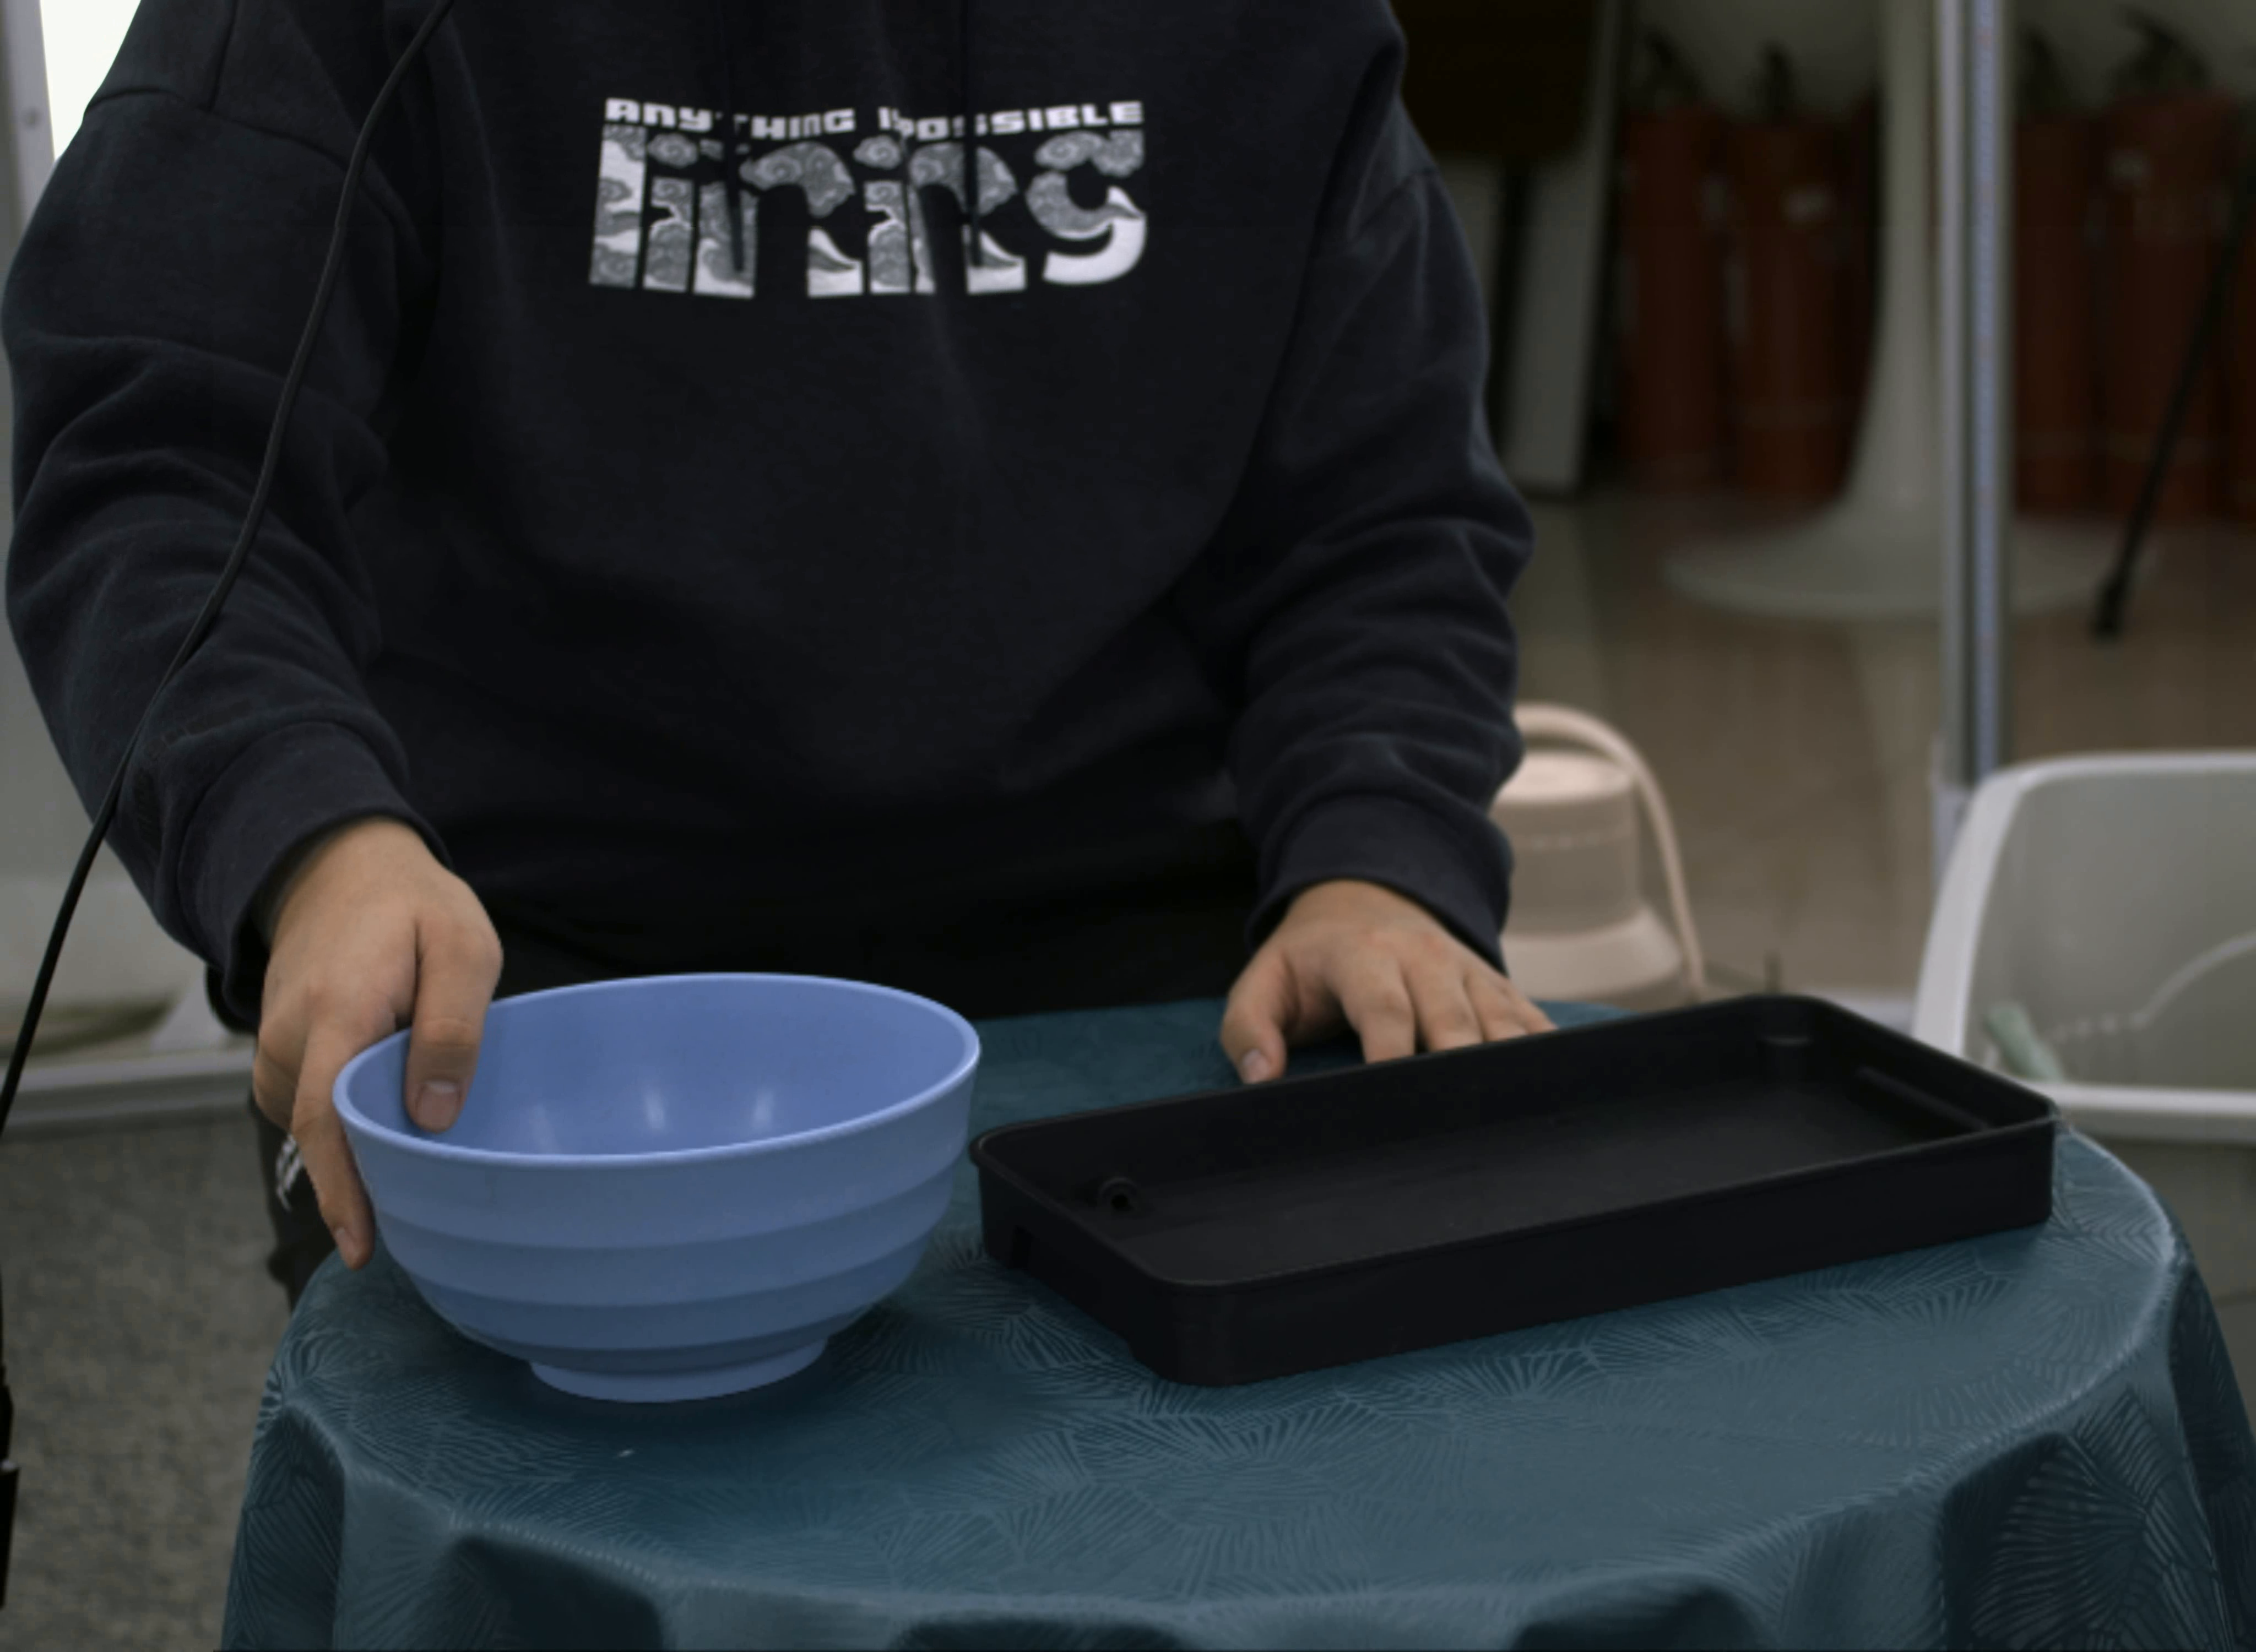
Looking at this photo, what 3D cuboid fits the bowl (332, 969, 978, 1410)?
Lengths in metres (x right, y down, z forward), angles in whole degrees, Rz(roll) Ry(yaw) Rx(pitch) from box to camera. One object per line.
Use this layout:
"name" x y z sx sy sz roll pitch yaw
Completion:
"bowl" -0.138 0.115 1.634 0.194 0.096 0.197 -5 14 0

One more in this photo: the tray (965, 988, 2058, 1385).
"tray" 0.121 0.110 1.707 0.311 0.037 0.186 -9 14 -21
